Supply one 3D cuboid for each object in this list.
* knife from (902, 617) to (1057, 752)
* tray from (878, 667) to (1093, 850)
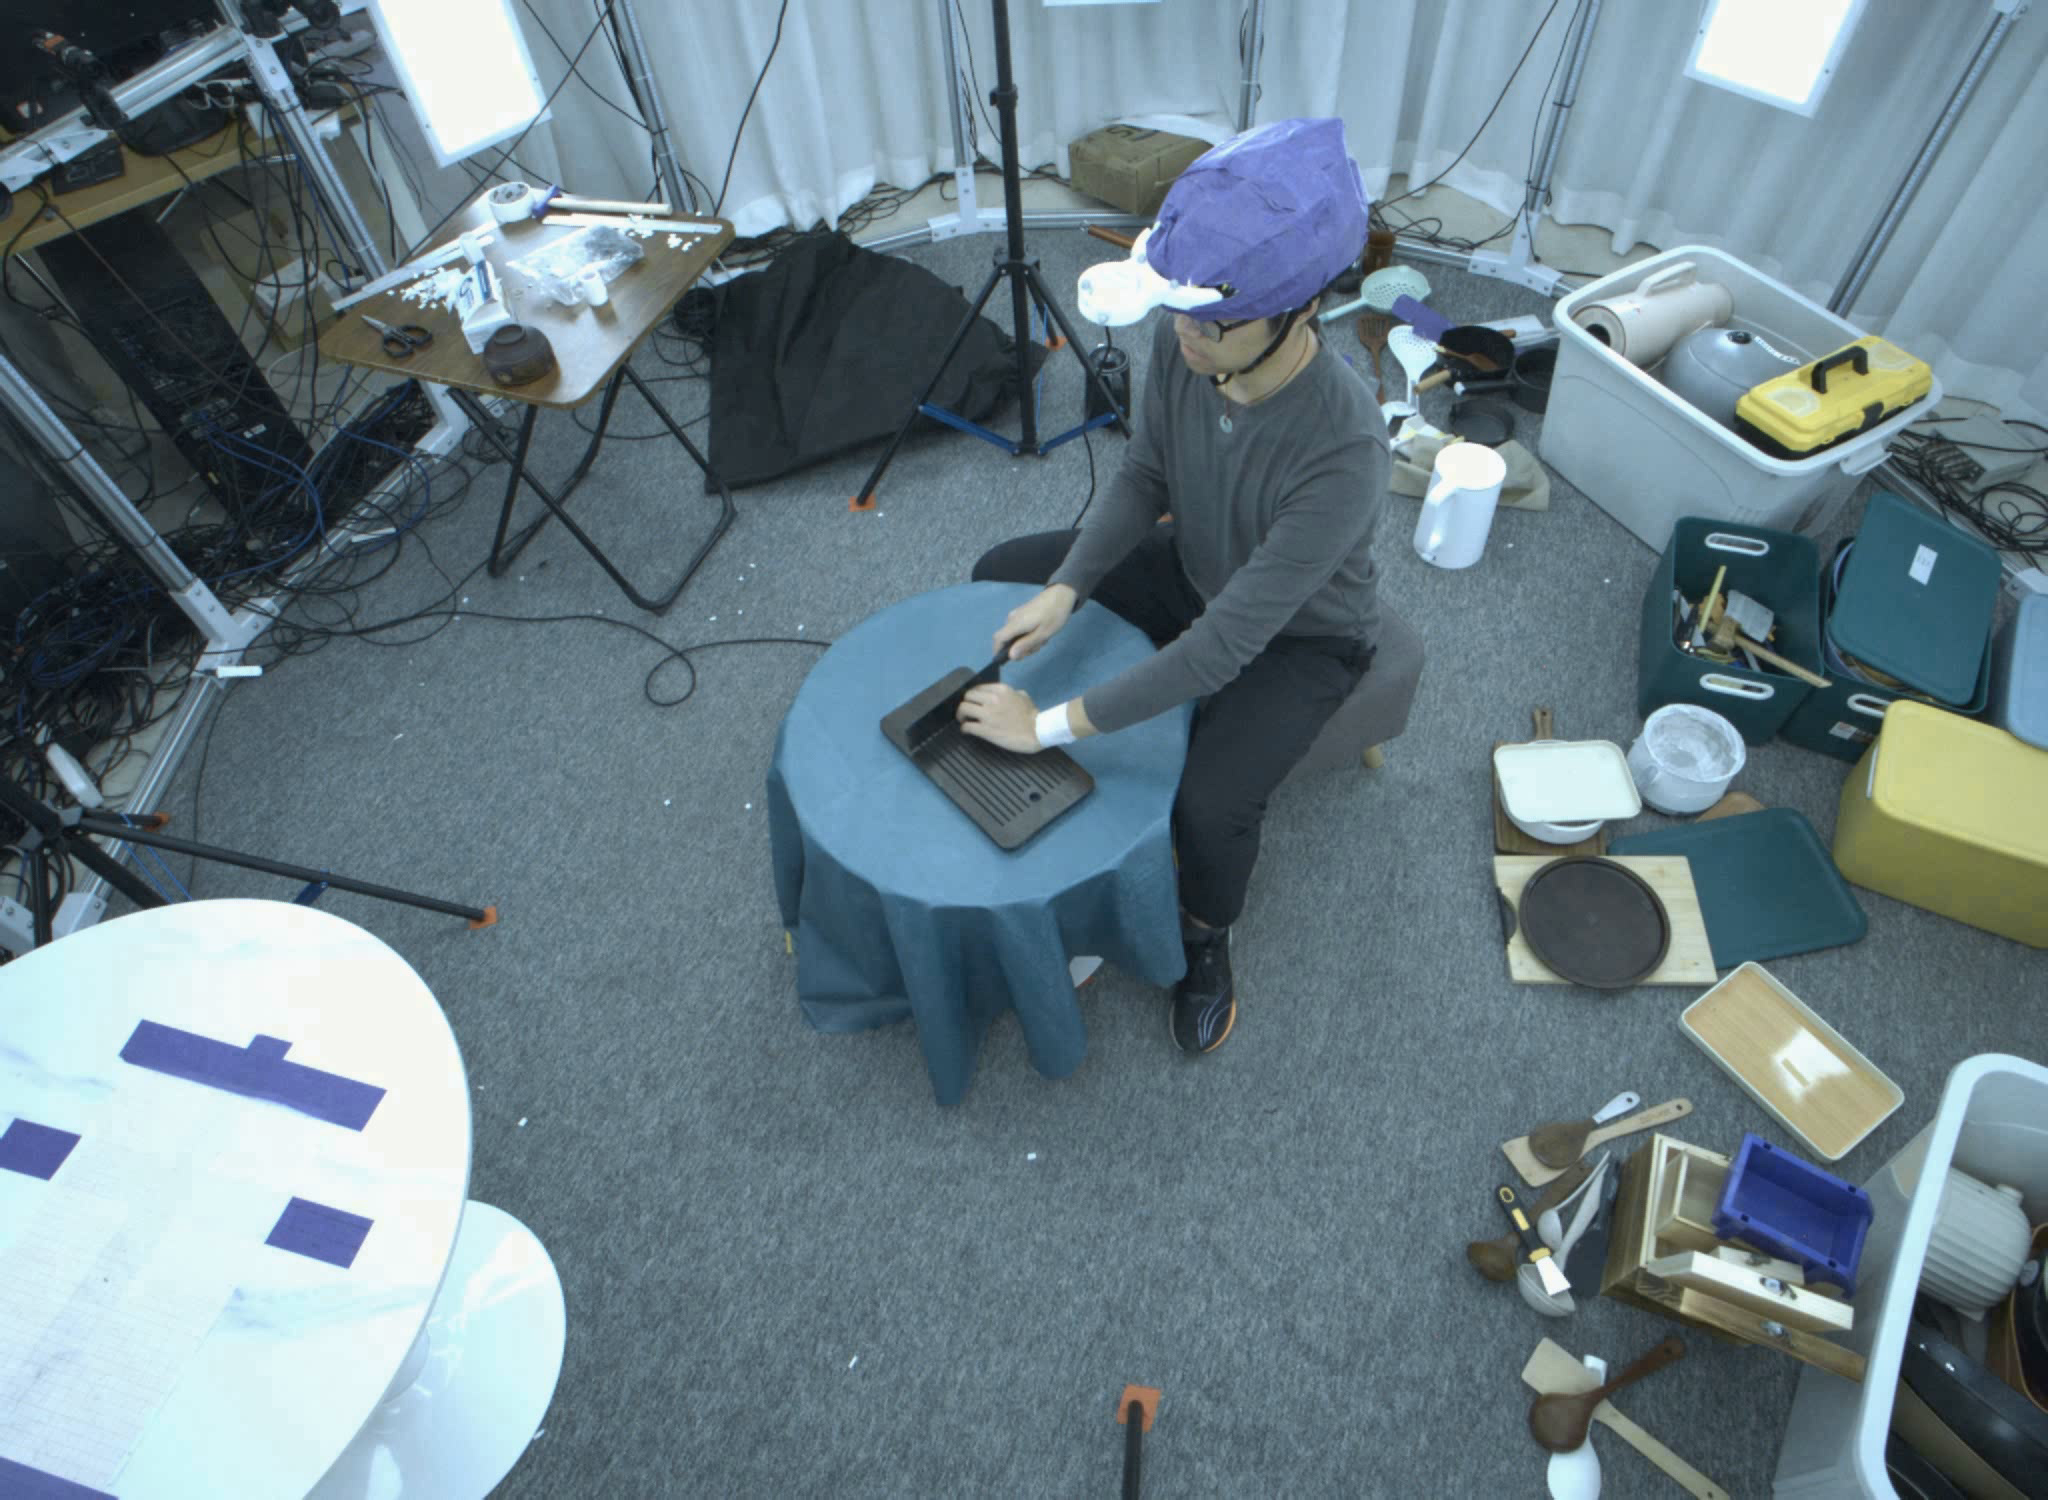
[{"bbox_3d":[-0.064,-0.100,1.799,0.304,0.081,0.020,-41,67,-19],"label":"knife"},{"bbox_3d":[-0.059,0.008,1.779,0.171,0.019,0.300,-35,61,-23],"label":"tray"}]
